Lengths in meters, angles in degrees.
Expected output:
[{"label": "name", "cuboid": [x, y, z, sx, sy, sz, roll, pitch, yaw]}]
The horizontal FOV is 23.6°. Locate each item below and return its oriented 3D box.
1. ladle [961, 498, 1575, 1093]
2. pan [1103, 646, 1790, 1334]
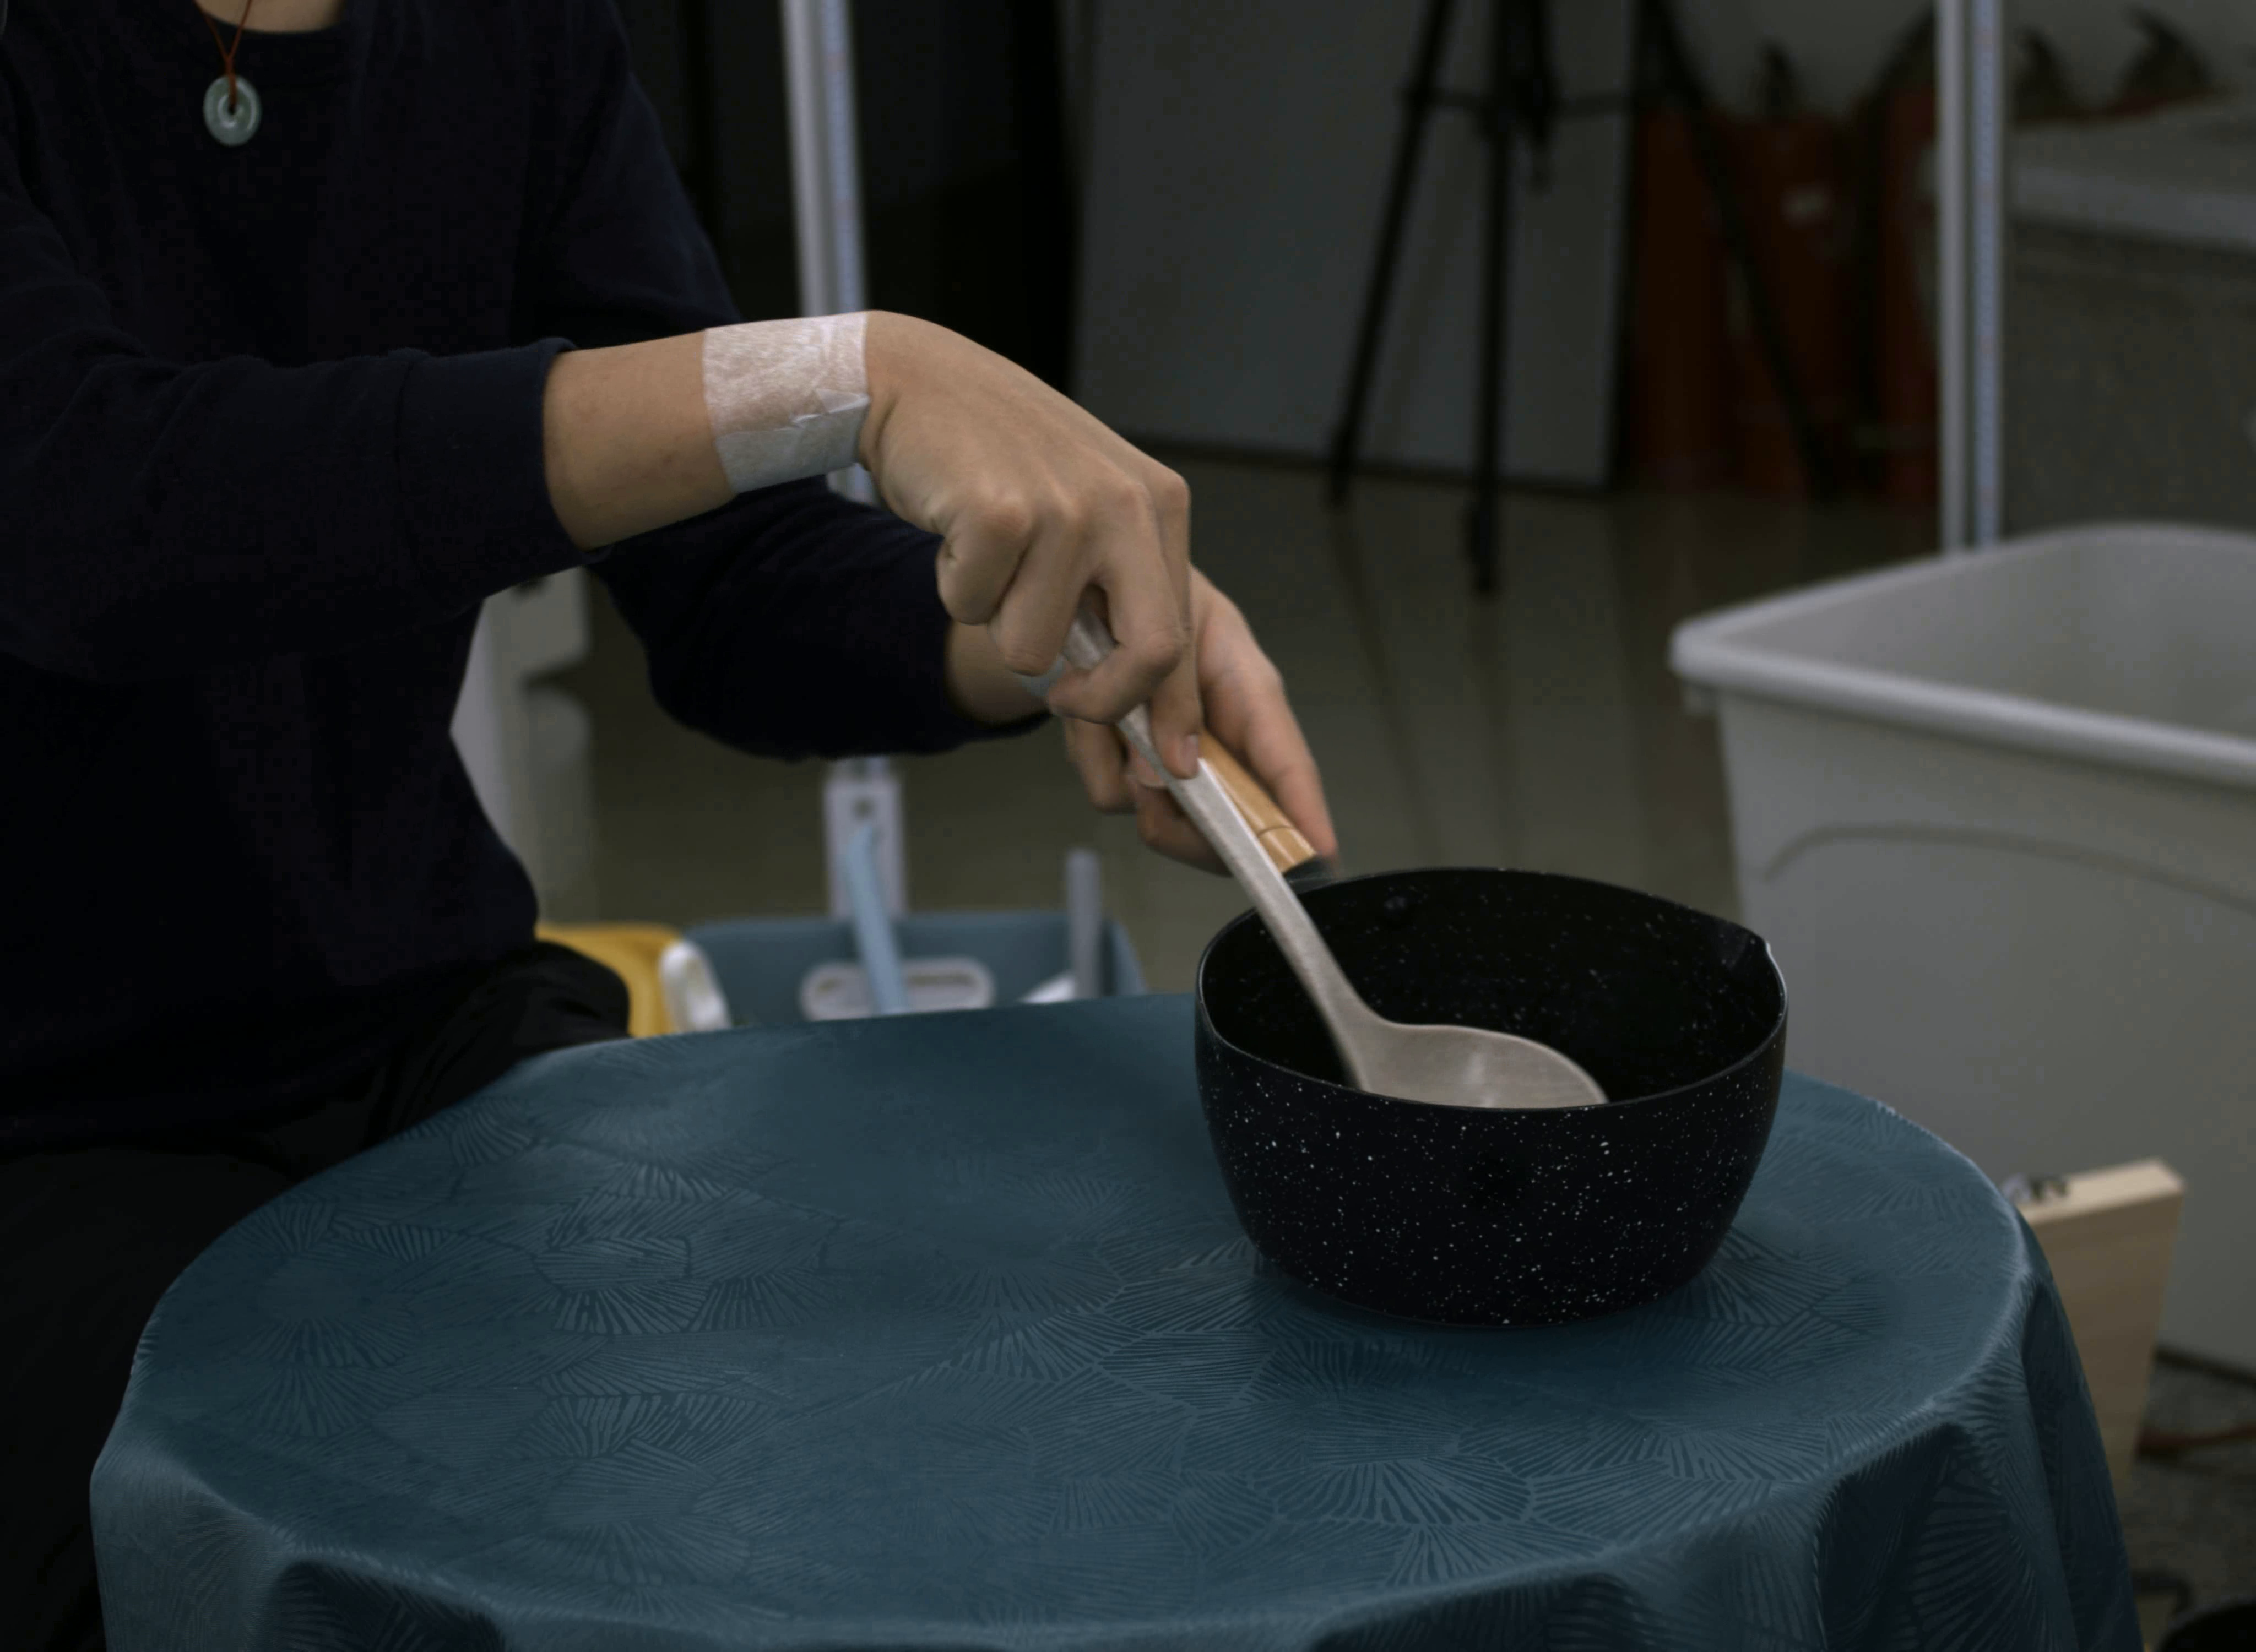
[{"label": "ladle", "cuboid": [0.048, 0.002, 1.654, 0.070, 0.274, 0.089, -23, 19, 31]}, {"label": "pan", "cuboid": [0.074, 0.048, 1.728, 0.203, 0.109, 0.347, -12, 26, -25]}]
